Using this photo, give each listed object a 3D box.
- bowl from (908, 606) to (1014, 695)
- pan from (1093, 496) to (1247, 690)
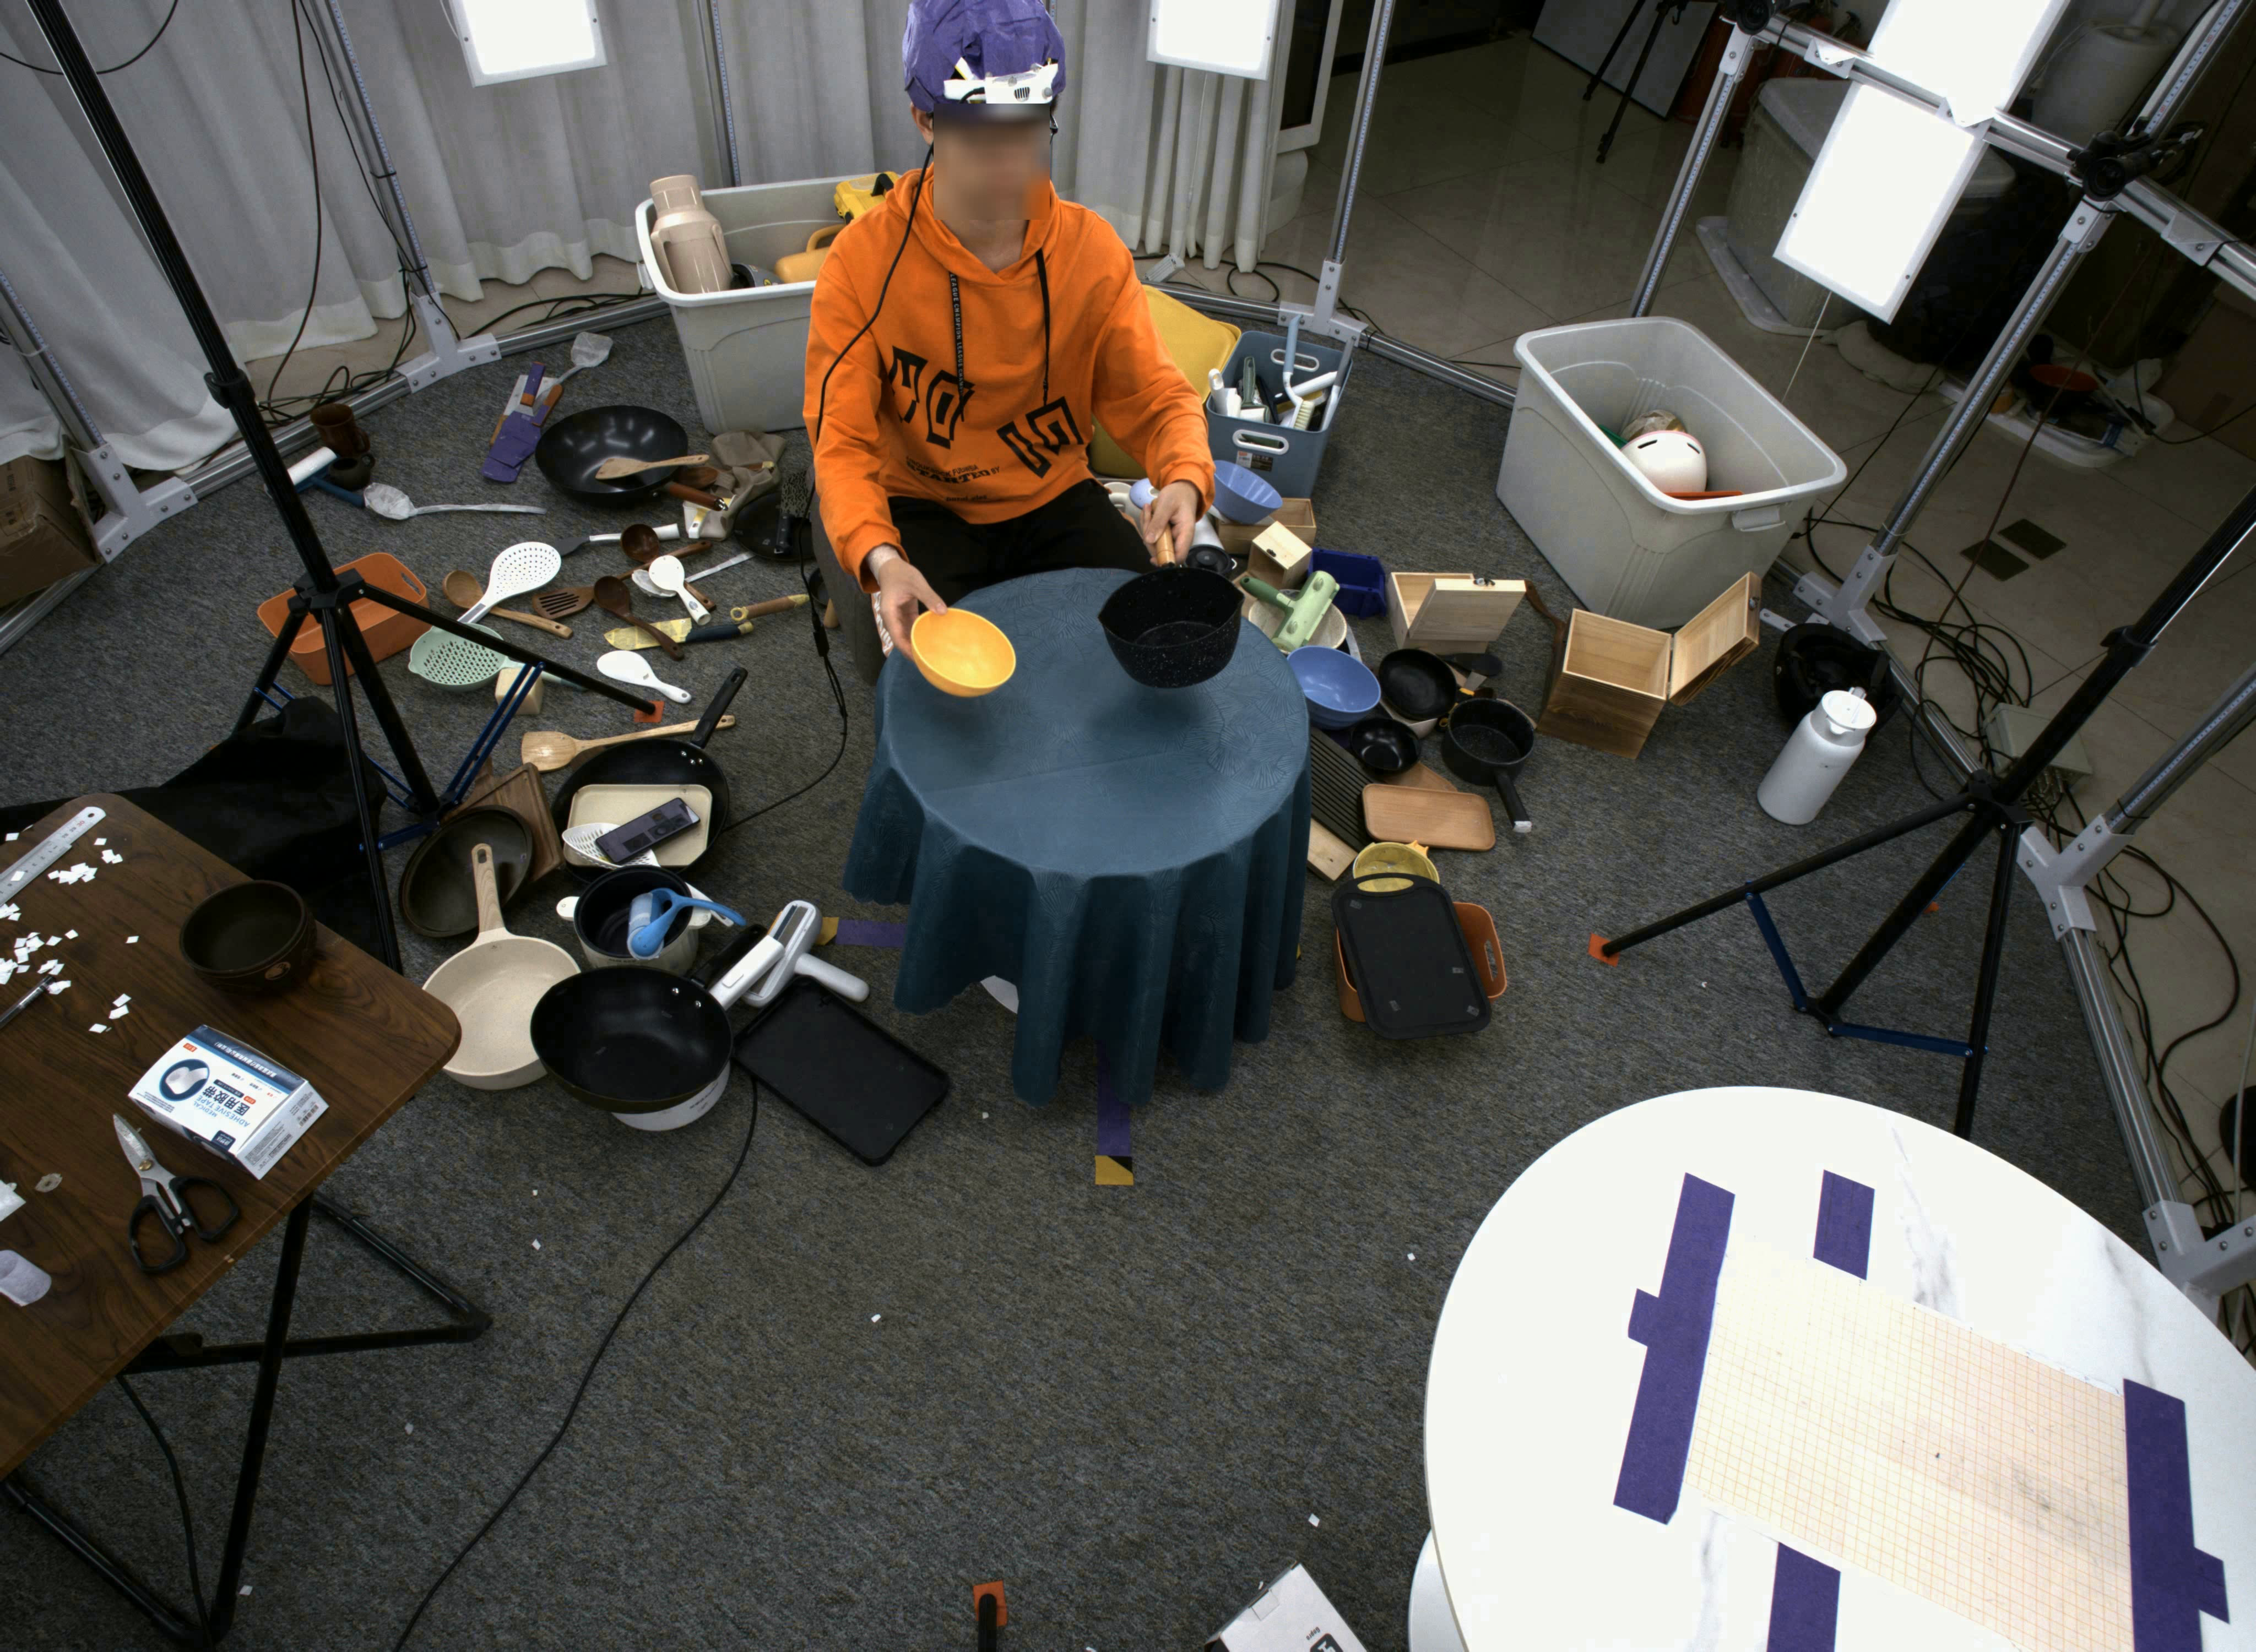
[{"bbox_3d":[-0.229,-0.222,1.713,0.144,0.059,0.149,17,44,-17],"label":"bowl"},{"bbox_3d":[0.057,-0.327,1.792,0.207,0.105,0.351,-9,43,5],"label":"pan"}]
